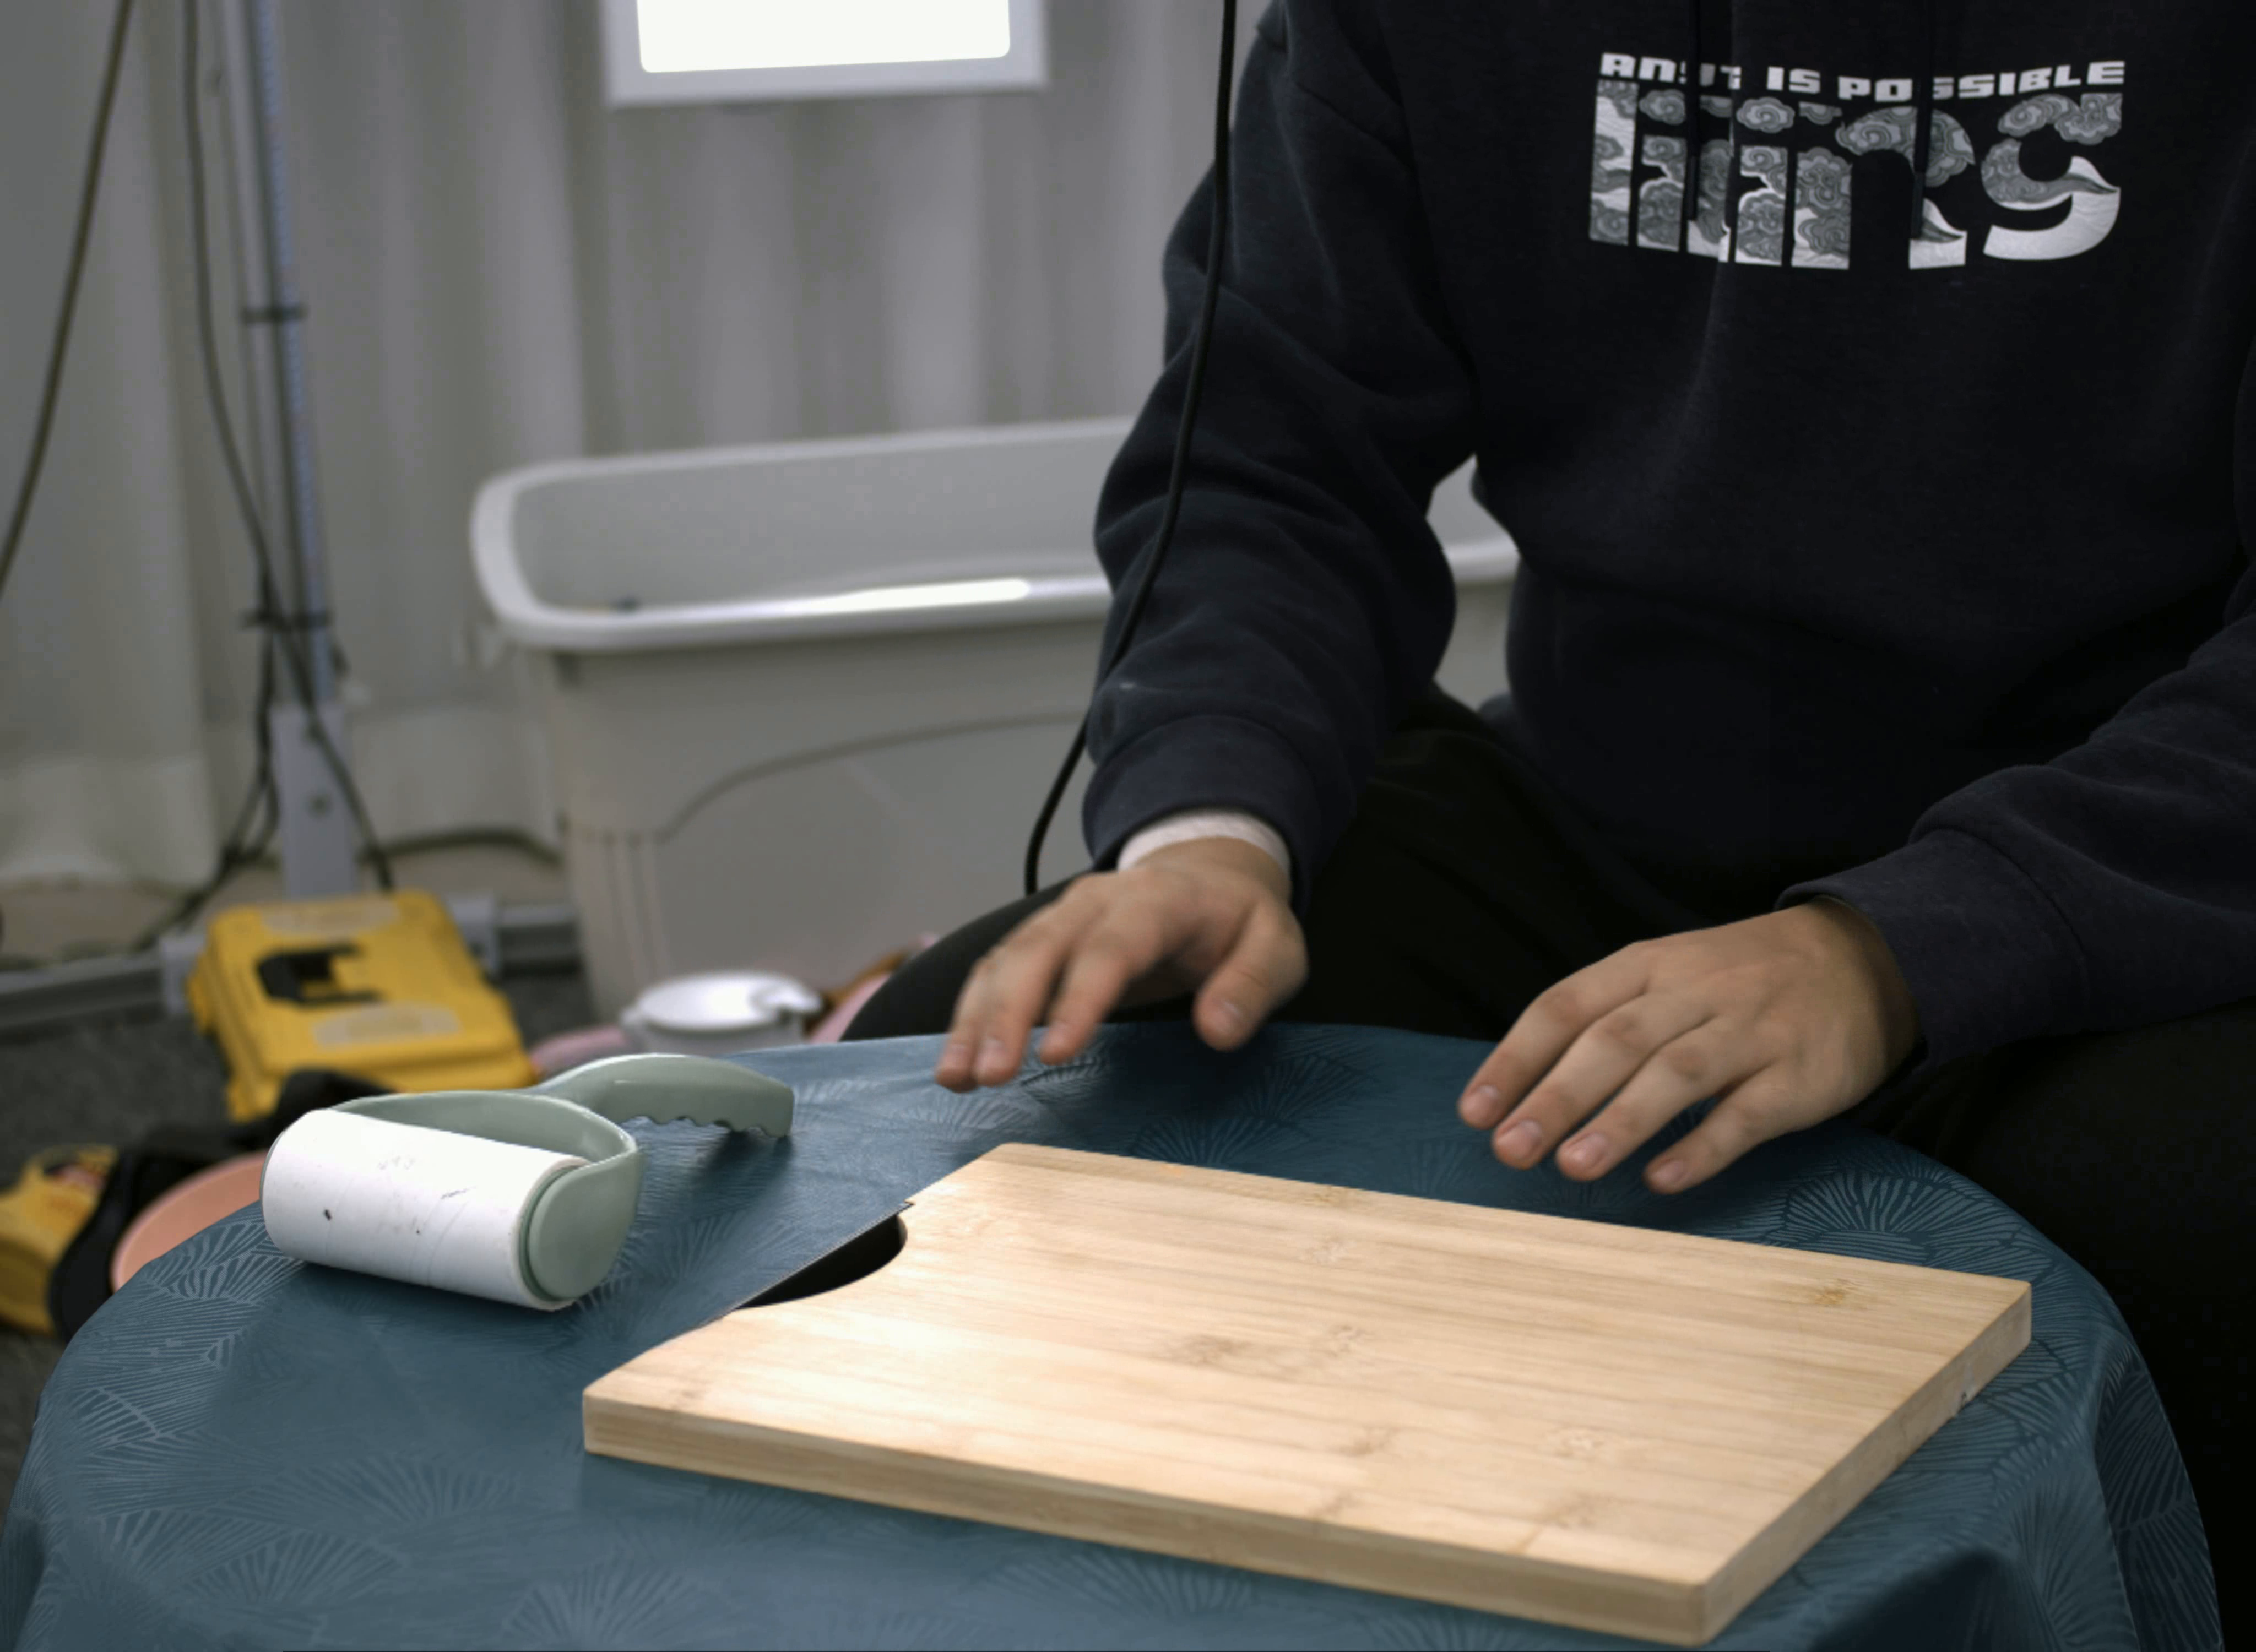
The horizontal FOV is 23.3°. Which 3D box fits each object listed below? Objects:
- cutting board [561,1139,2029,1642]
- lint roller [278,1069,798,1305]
[{"bbox_3d":[0.049,0.152,1.539,0.349,0.023,0.251,6,16,28],"label":"cutting board"},{"bbox_3d":[-0.163,0.102,1.711,0.117,0.048,0.197,5,14,33],"label":"lint roller"}]
